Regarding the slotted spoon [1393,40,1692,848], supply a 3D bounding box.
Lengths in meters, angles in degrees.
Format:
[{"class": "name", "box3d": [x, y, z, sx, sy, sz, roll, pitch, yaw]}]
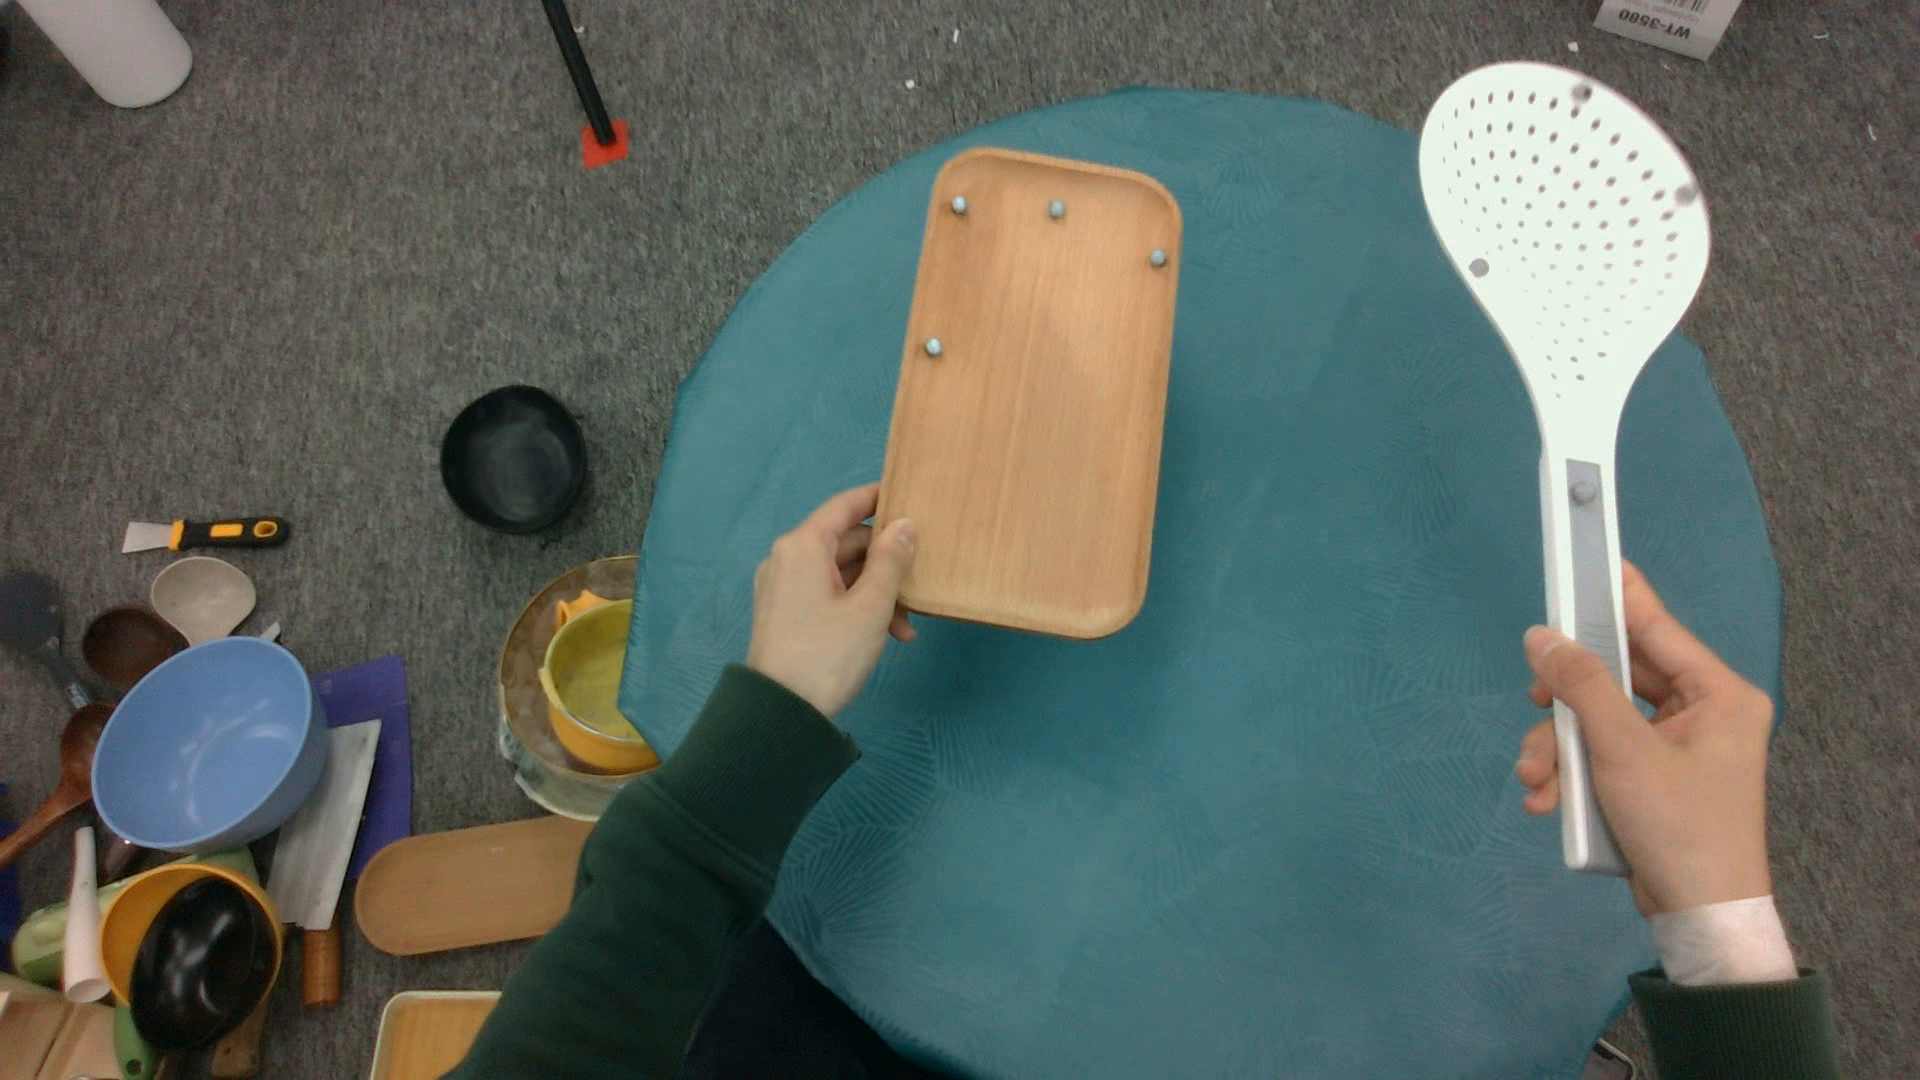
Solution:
[{"class": "slotted spoon", "box3d": [0.239, -0.053, 0.558, 0.136, 0.045, 0.351, 8, 65, -7]}]

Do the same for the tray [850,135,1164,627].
[{"class": "tray", "box3d": [0.027, -0.082, 0.659, 0.130, 0.023, 0.251, 9, 69, 0]}]
